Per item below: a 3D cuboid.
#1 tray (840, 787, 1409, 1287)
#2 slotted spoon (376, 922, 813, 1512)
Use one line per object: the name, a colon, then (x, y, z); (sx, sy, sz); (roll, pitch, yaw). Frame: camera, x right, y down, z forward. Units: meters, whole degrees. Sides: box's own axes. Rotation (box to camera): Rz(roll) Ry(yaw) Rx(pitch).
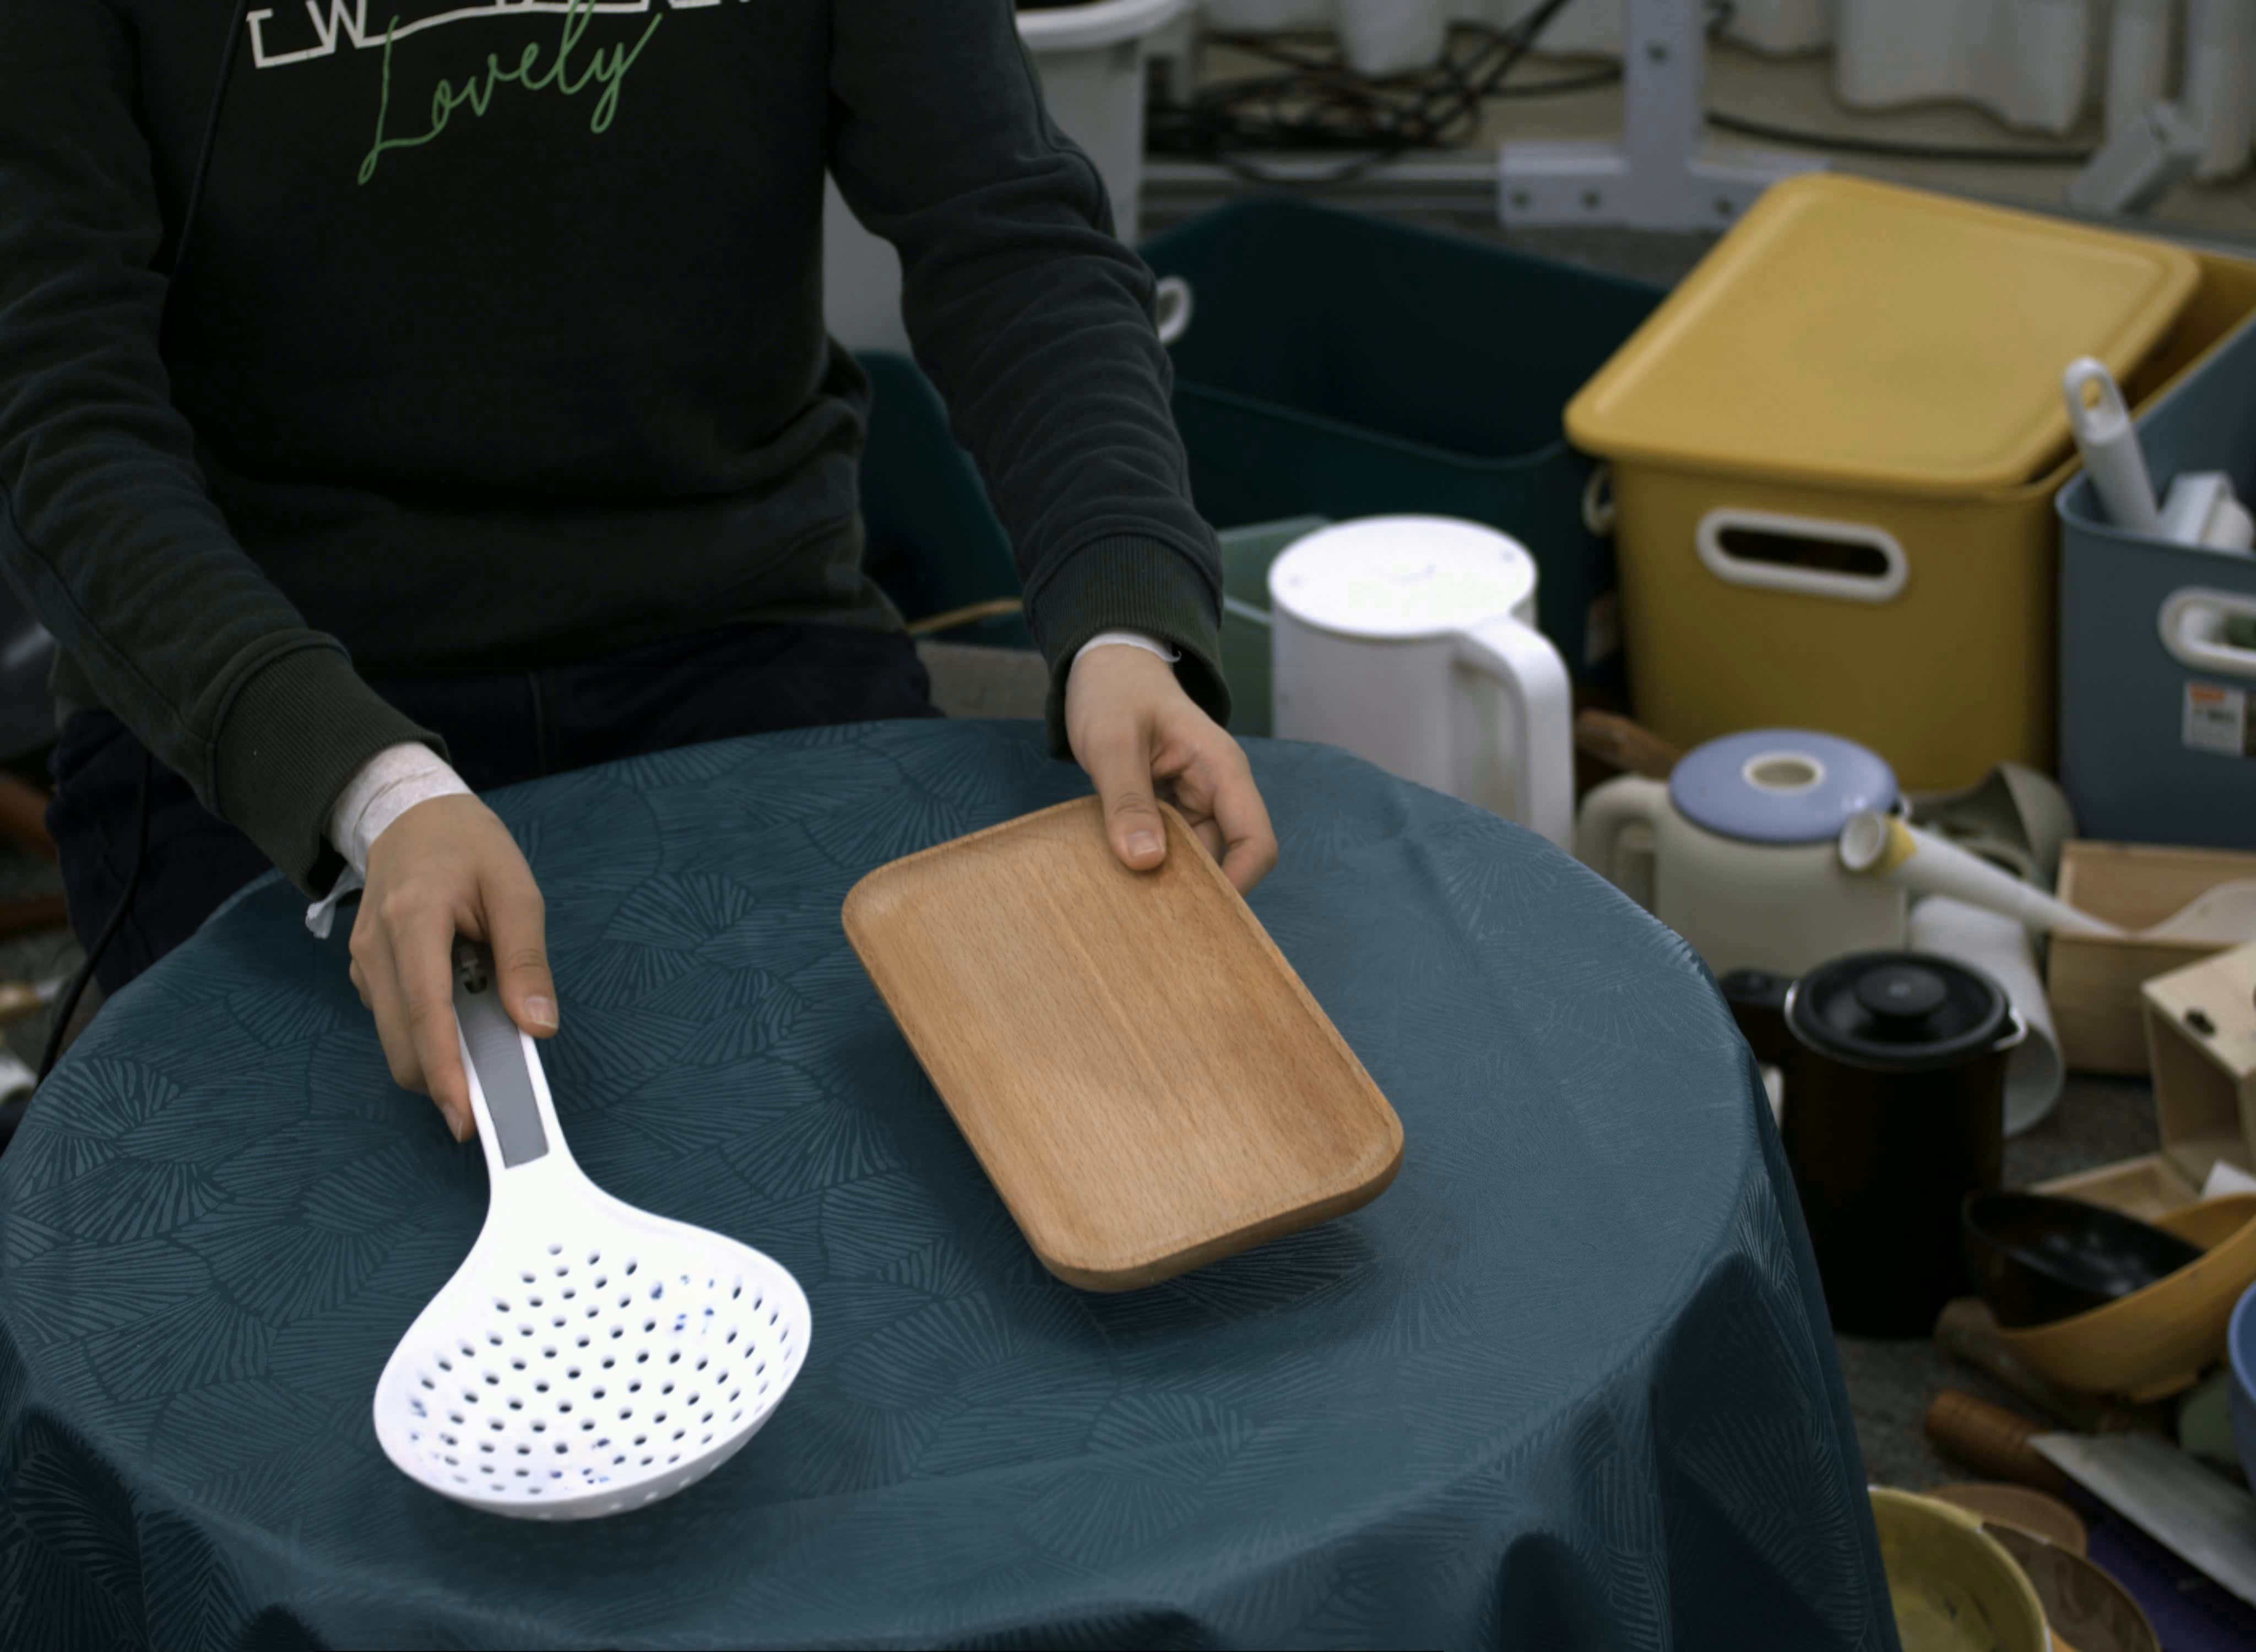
tray: (-0.004, 0.067, 1.874); (0.131, 0.022, 0.253); (-16, 34, -14)
slotted spoon: (-0.188, 0.119, 1.806); (0.136, 0.045, 0.354); (-14, 34, -8)
